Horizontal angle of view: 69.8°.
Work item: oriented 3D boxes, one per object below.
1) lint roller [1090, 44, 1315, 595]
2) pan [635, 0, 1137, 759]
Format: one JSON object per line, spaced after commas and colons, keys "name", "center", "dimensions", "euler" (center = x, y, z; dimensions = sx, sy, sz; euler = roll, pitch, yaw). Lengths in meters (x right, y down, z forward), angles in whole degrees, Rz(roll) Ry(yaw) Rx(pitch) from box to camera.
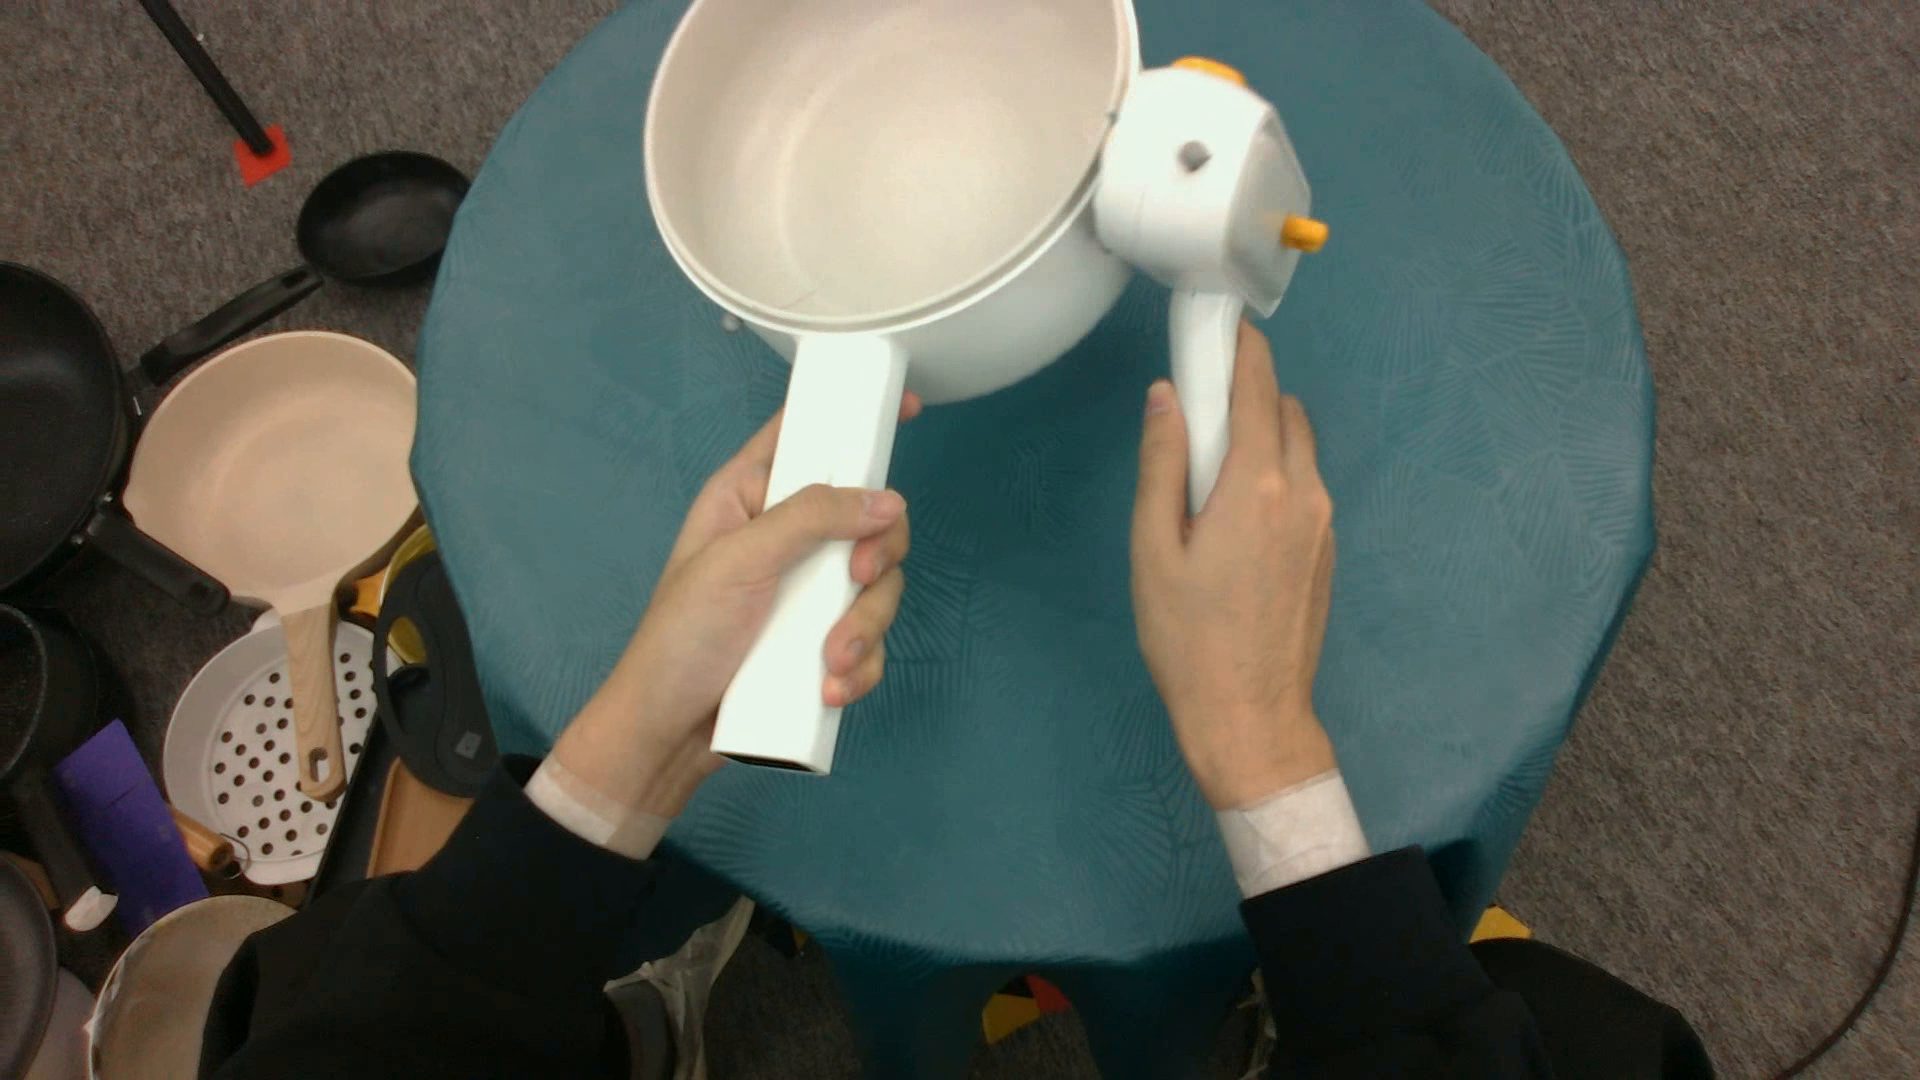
{"name": "lint roller", "center": [0.092, -0.076, 0.536], "dimensions": [0.074, 0.193, 0.192], "euler": [10, 98, 12]}
{"name": "pan", "center": [-0.033, -0.087, 0.548], "dimensions": [0.201, 0.102, 0.355], "euler": [3, 73, 19]}
